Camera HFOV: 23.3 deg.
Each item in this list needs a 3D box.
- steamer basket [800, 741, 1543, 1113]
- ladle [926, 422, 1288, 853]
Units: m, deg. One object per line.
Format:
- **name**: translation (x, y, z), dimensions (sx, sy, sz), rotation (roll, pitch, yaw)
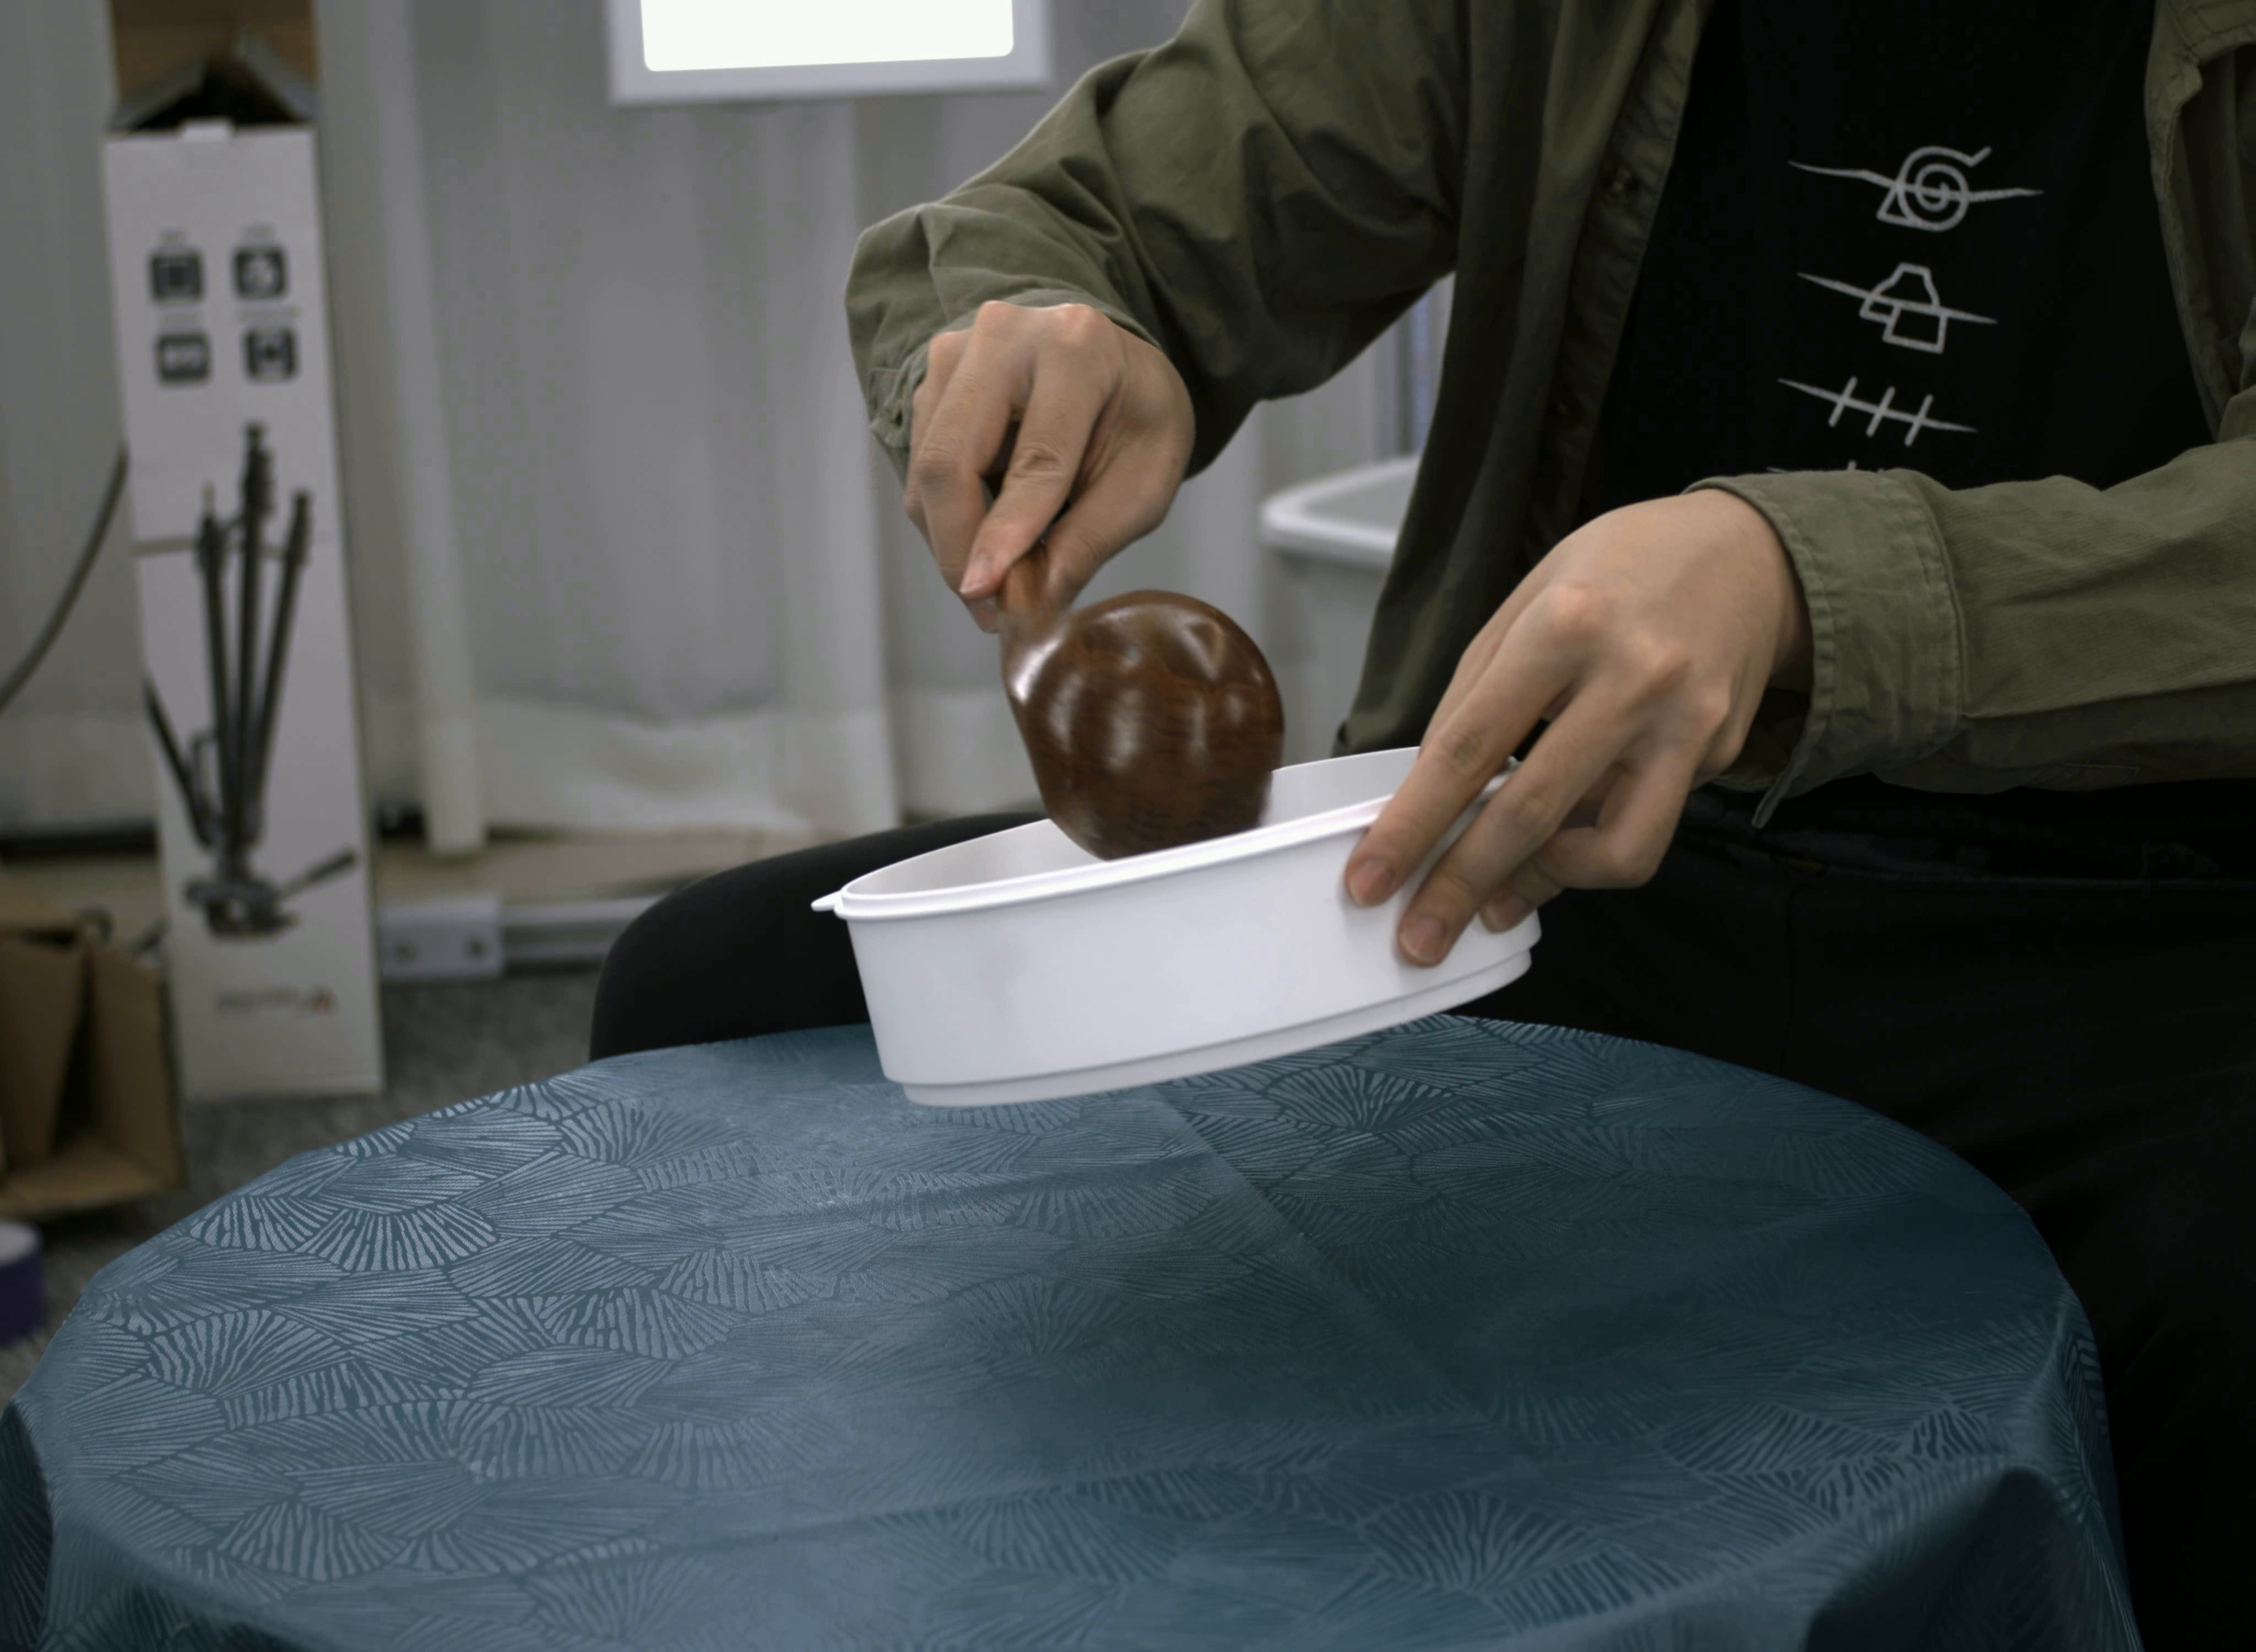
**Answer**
- **steamer basket**: translation (0.016, 0.031, 1.576), dimensions (0.230, 0.069, 0.202), rotation (-9, 6, 29)
- **ladle**: translation (-0.009, -0.067, 1.665), dimensions (0.076, 0.081, 0.277), rotation (24, 15, -16)
